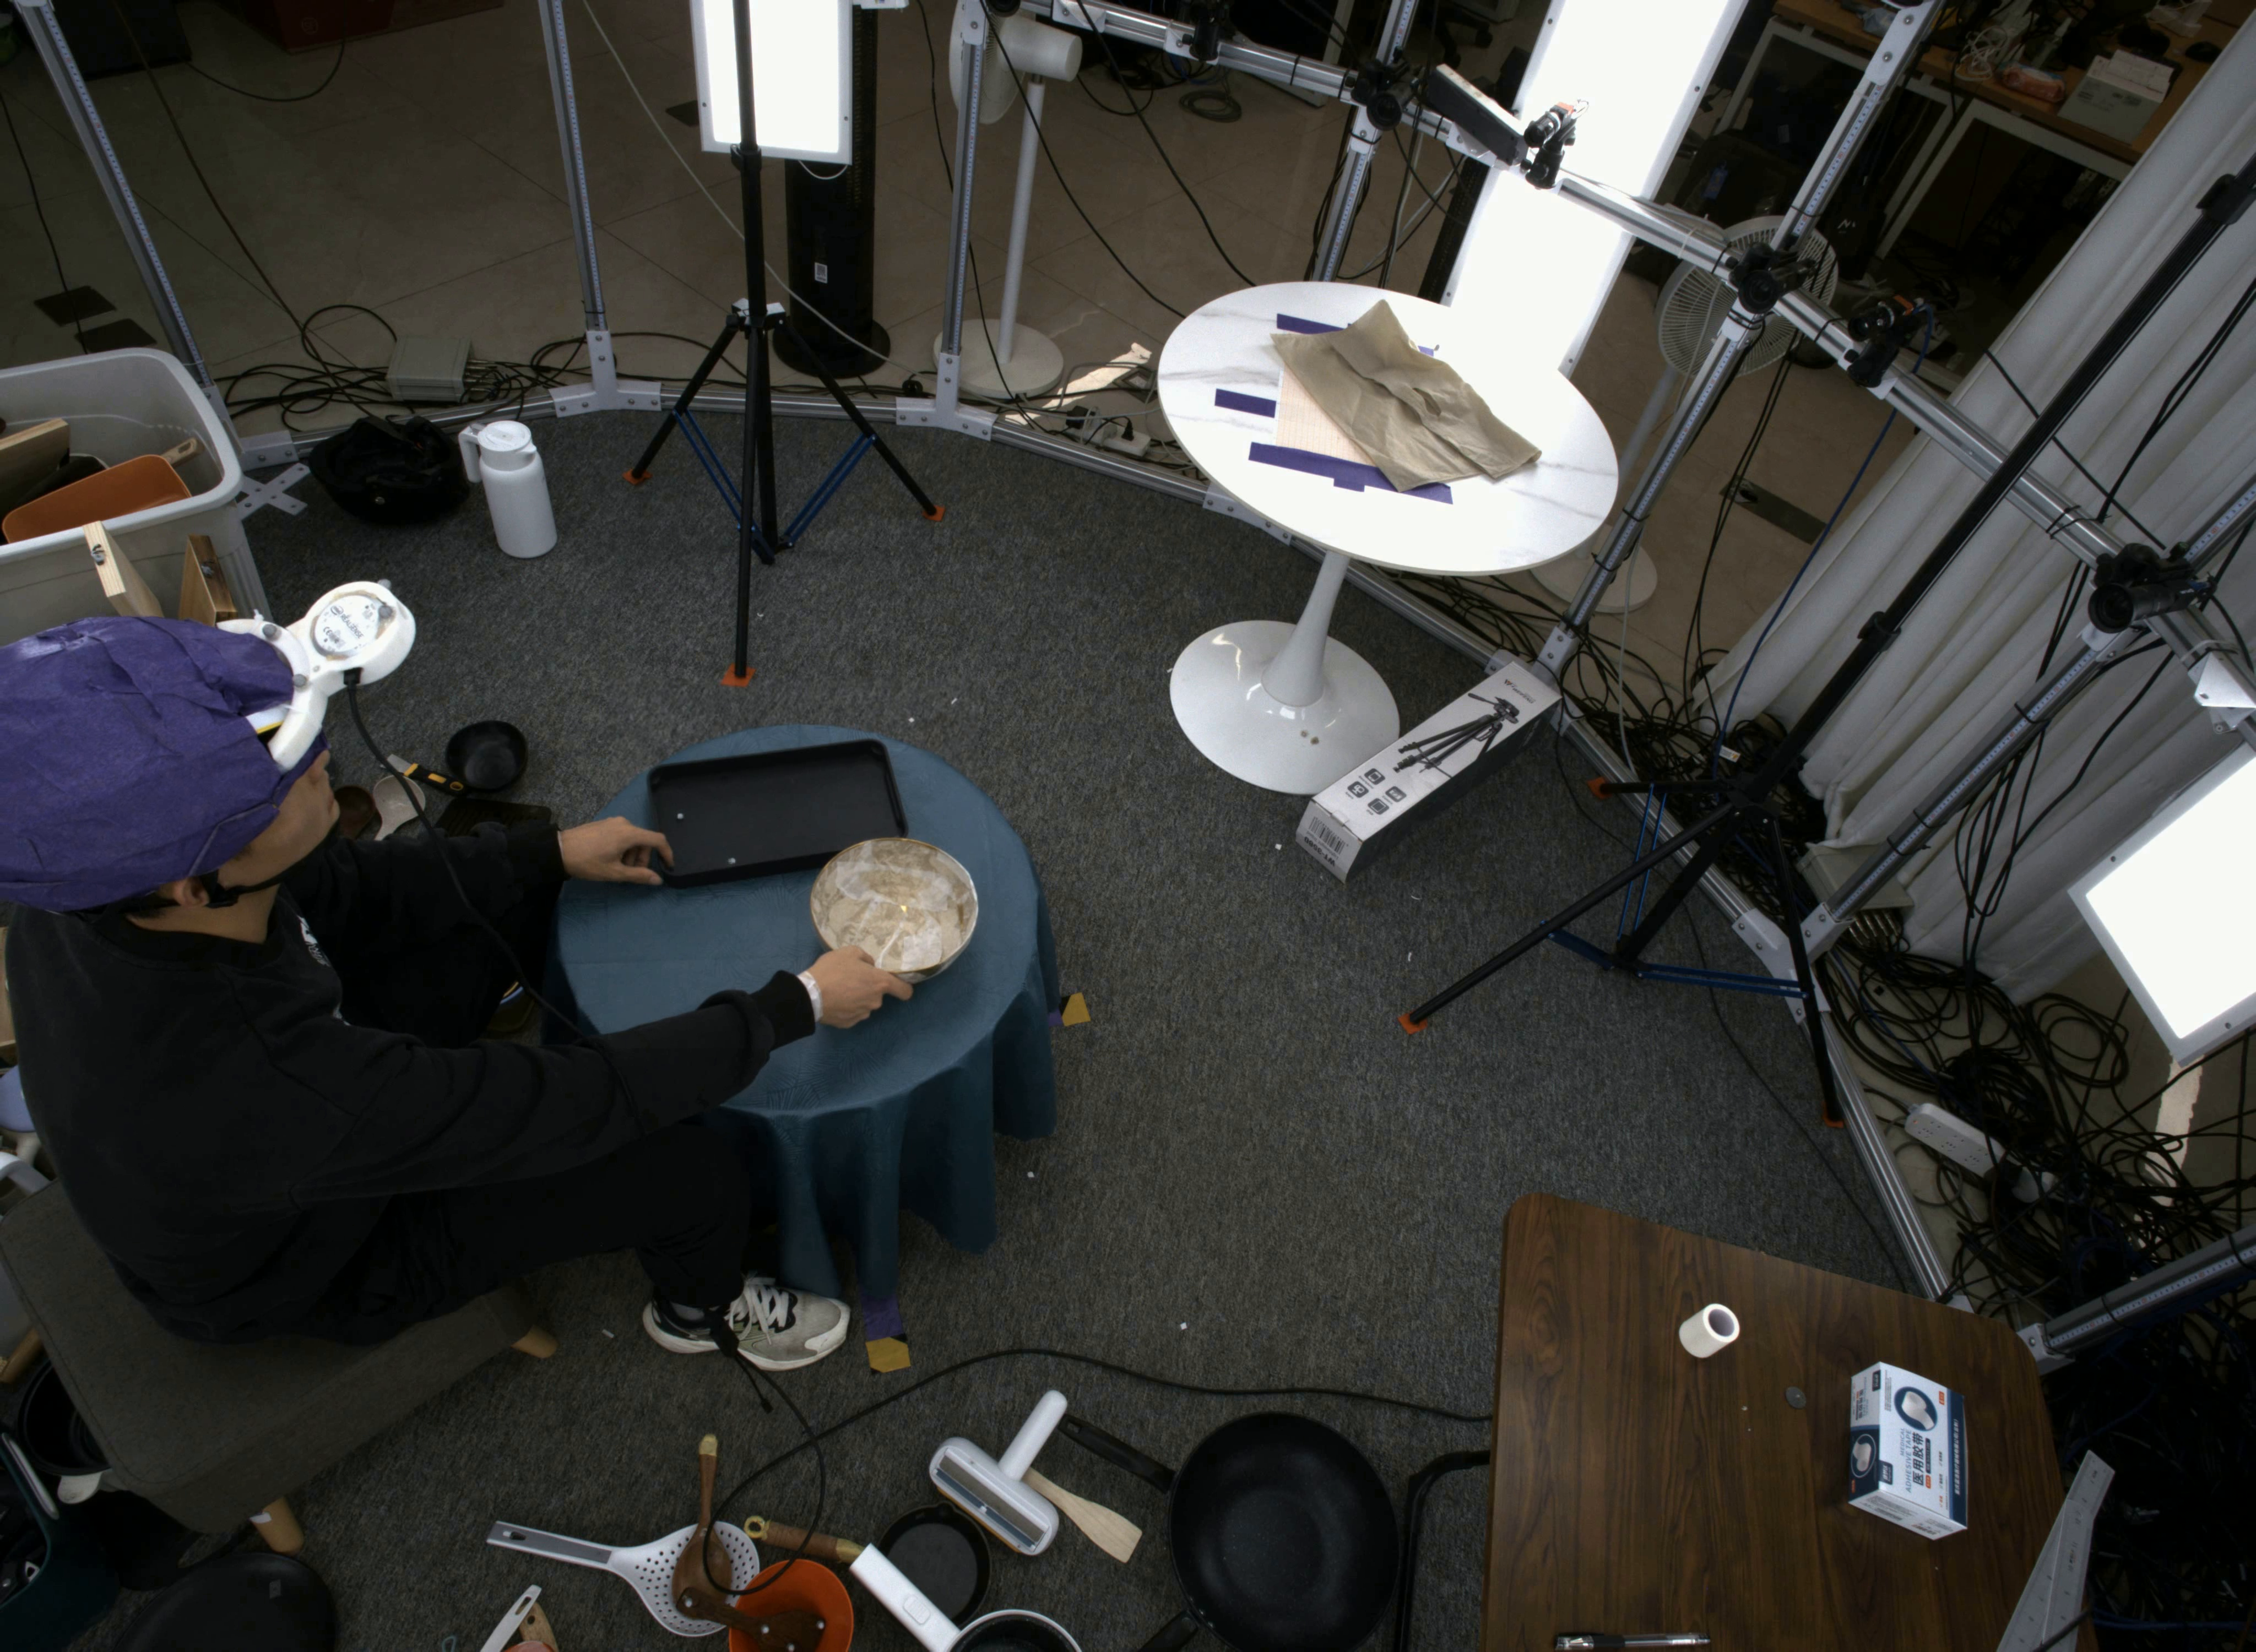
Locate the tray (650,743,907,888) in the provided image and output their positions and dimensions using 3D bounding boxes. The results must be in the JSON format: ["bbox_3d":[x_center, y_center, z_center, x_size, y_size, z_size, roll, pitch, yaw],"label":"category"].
[{"bbox_3d":[-0.463,-0.019,1.713,0.319,0.038,0.180,-7,55,-21],"label":"tray"}]

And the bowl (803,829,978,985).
[{"bbox_3d":[-0.295,0.115,1.616,0.214,0.096,0.211,8,53,-9],"label":"bowl"}]
